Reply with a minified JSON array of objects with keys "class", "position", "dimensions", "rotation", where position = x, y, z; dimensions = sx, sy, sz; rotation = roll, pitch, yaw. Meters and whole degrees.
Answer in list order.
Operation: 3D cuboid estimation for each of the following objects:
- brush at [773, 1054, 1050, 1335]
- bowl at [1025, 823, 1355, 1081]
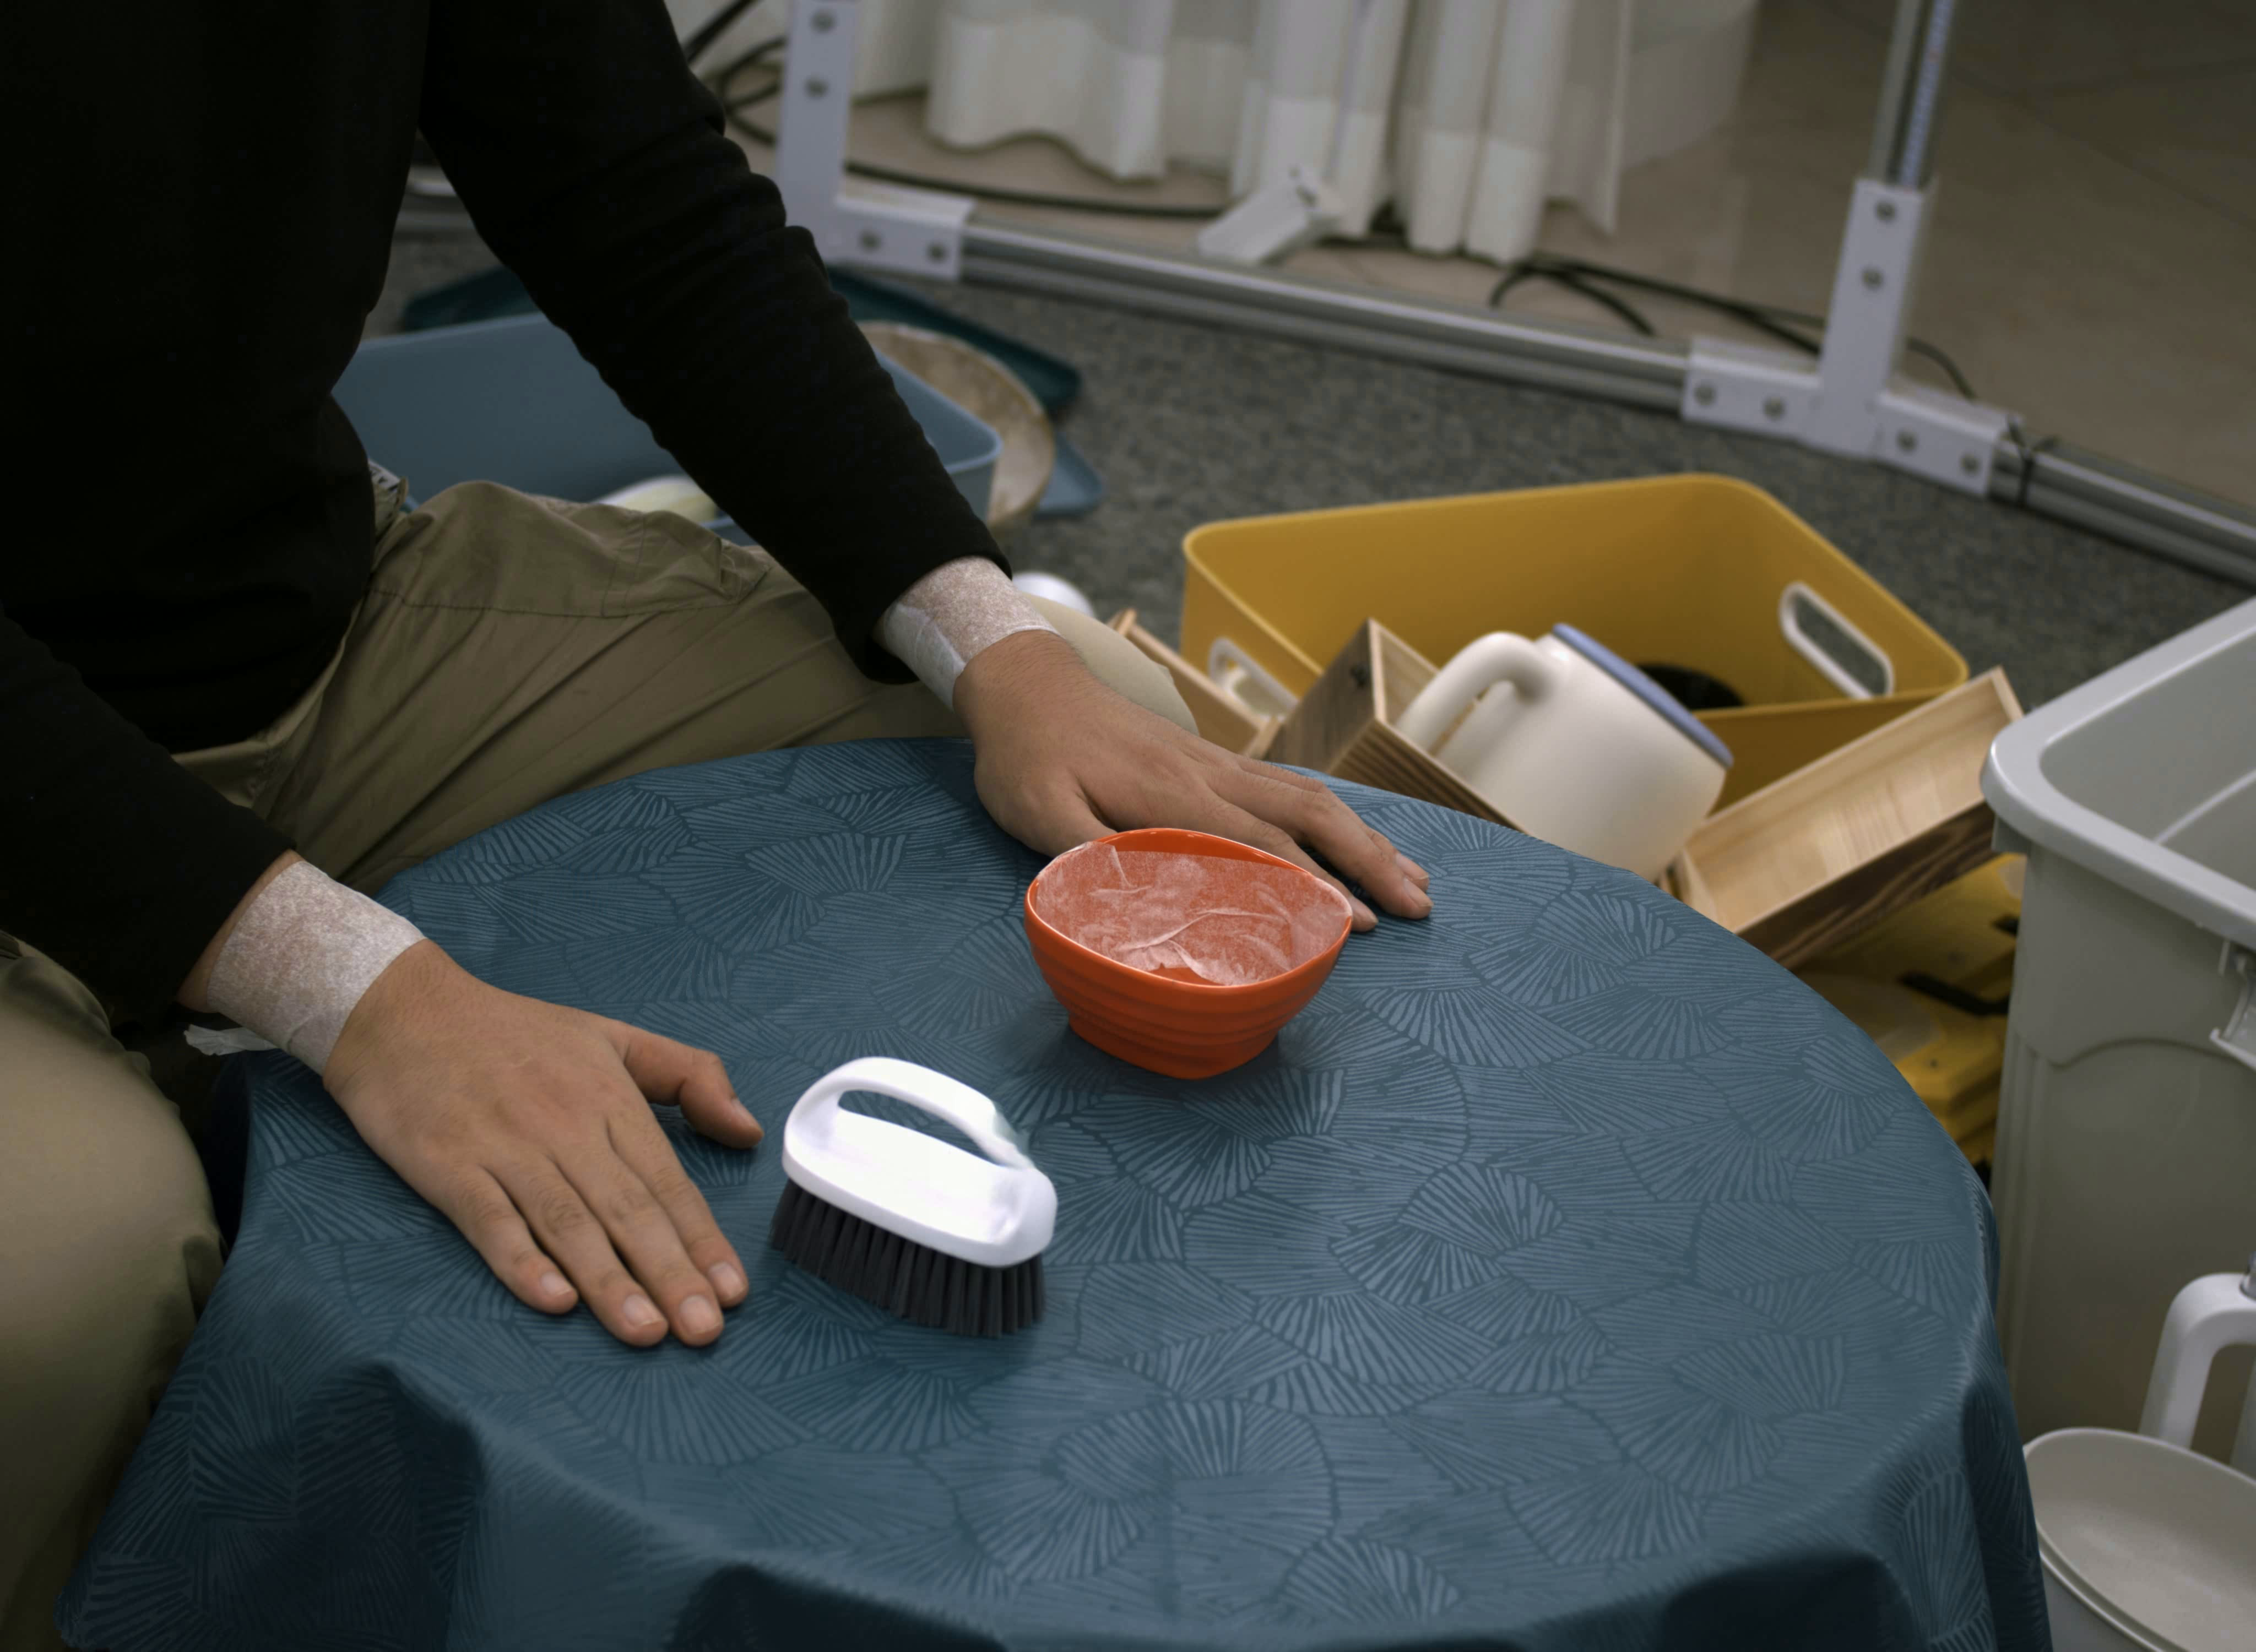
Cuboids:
[{"class":"brush","position":[-0.069,0.113,1.726],"dimensions":[0.100,0.072,0.050],"rotation":[23,31,29]},{"class":"bowl","position":[0.019,0.049,1.895],"dimensions":[0.118,0.051,0.119],"rotation":[6,29,-3]}]
